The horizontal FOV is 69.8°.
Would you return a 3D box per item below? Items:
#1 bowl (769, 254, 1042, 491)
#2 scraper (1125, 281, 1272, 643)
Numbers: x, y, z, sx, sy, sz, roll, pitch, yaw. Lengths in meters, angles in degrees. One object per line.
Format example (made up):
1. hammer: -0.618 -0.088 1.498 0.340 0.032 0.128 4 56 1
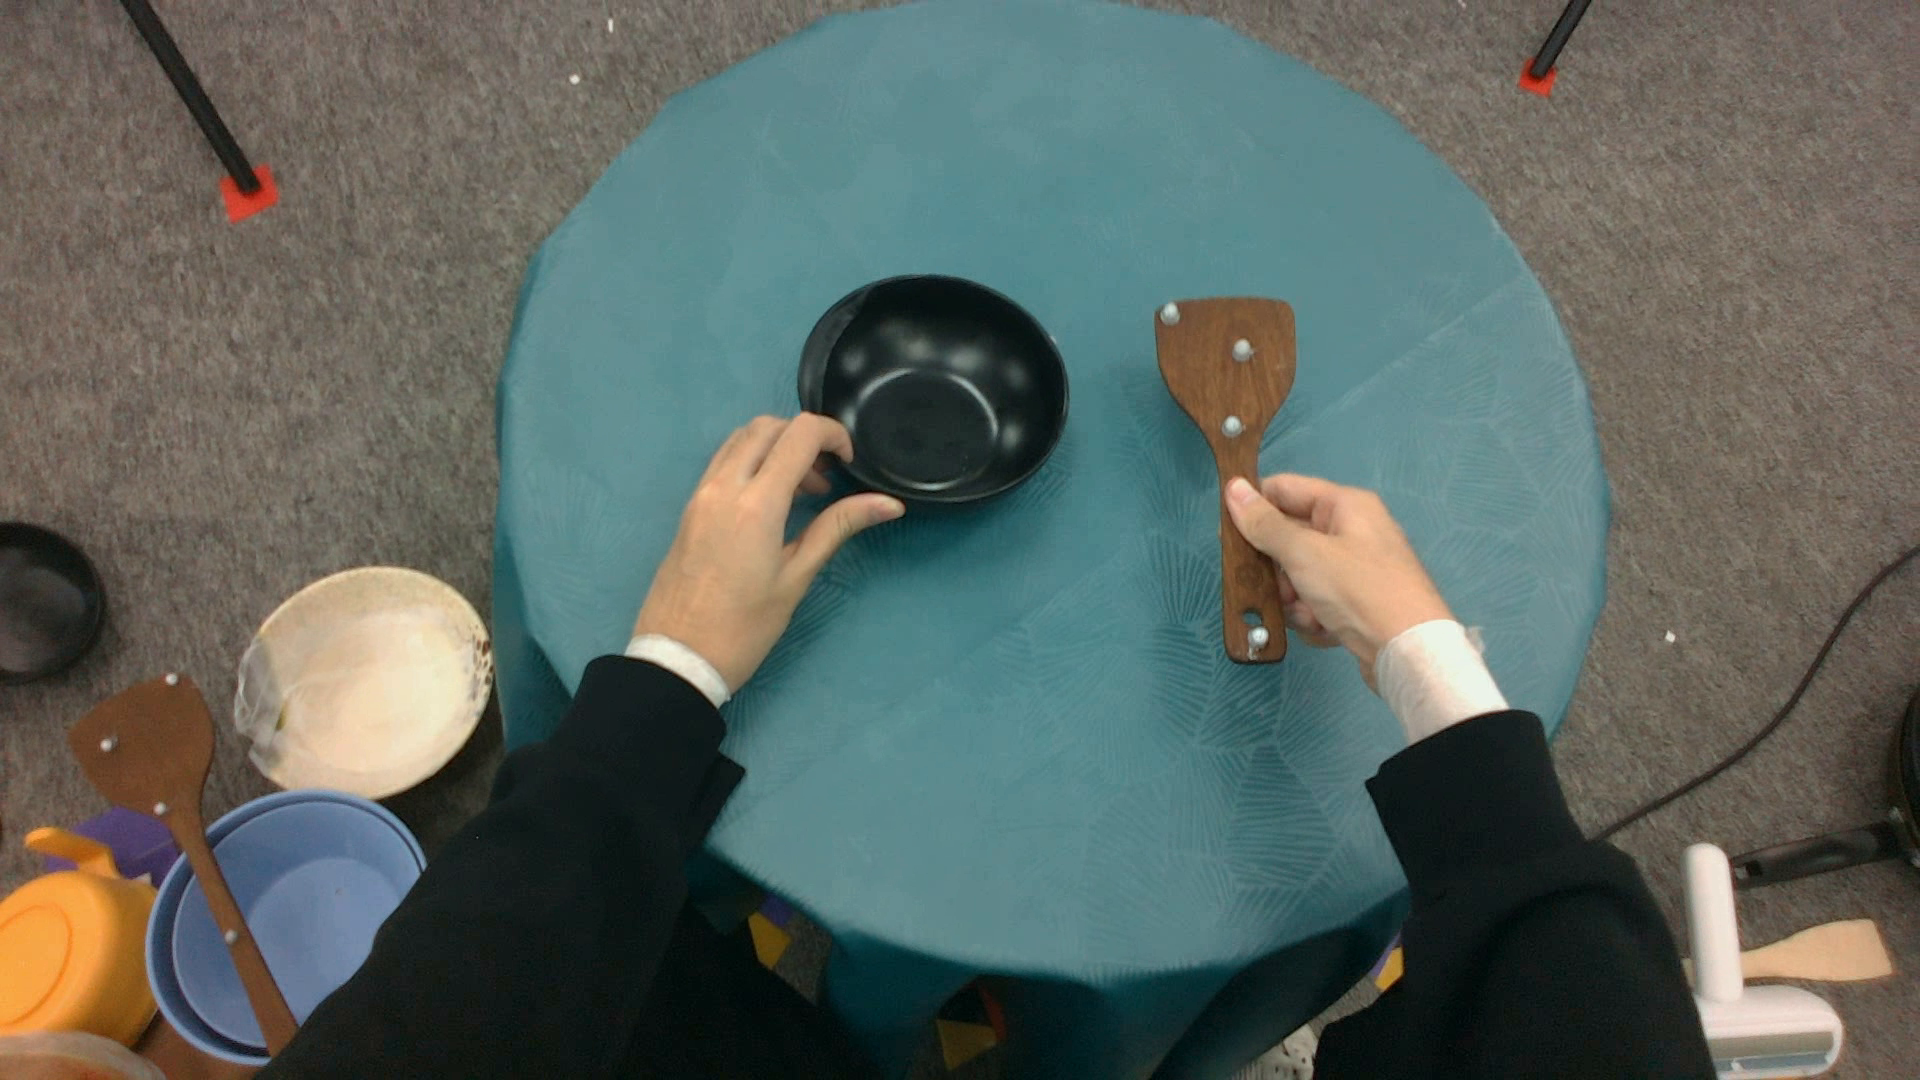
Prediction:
1. bowl: -0.031 -0.079 0.711 0.140 0.049 0.140 5 60 -9
2. scraper: 0.124 -0.044 0.680 0.076 0.011 0.212 0 59 2
